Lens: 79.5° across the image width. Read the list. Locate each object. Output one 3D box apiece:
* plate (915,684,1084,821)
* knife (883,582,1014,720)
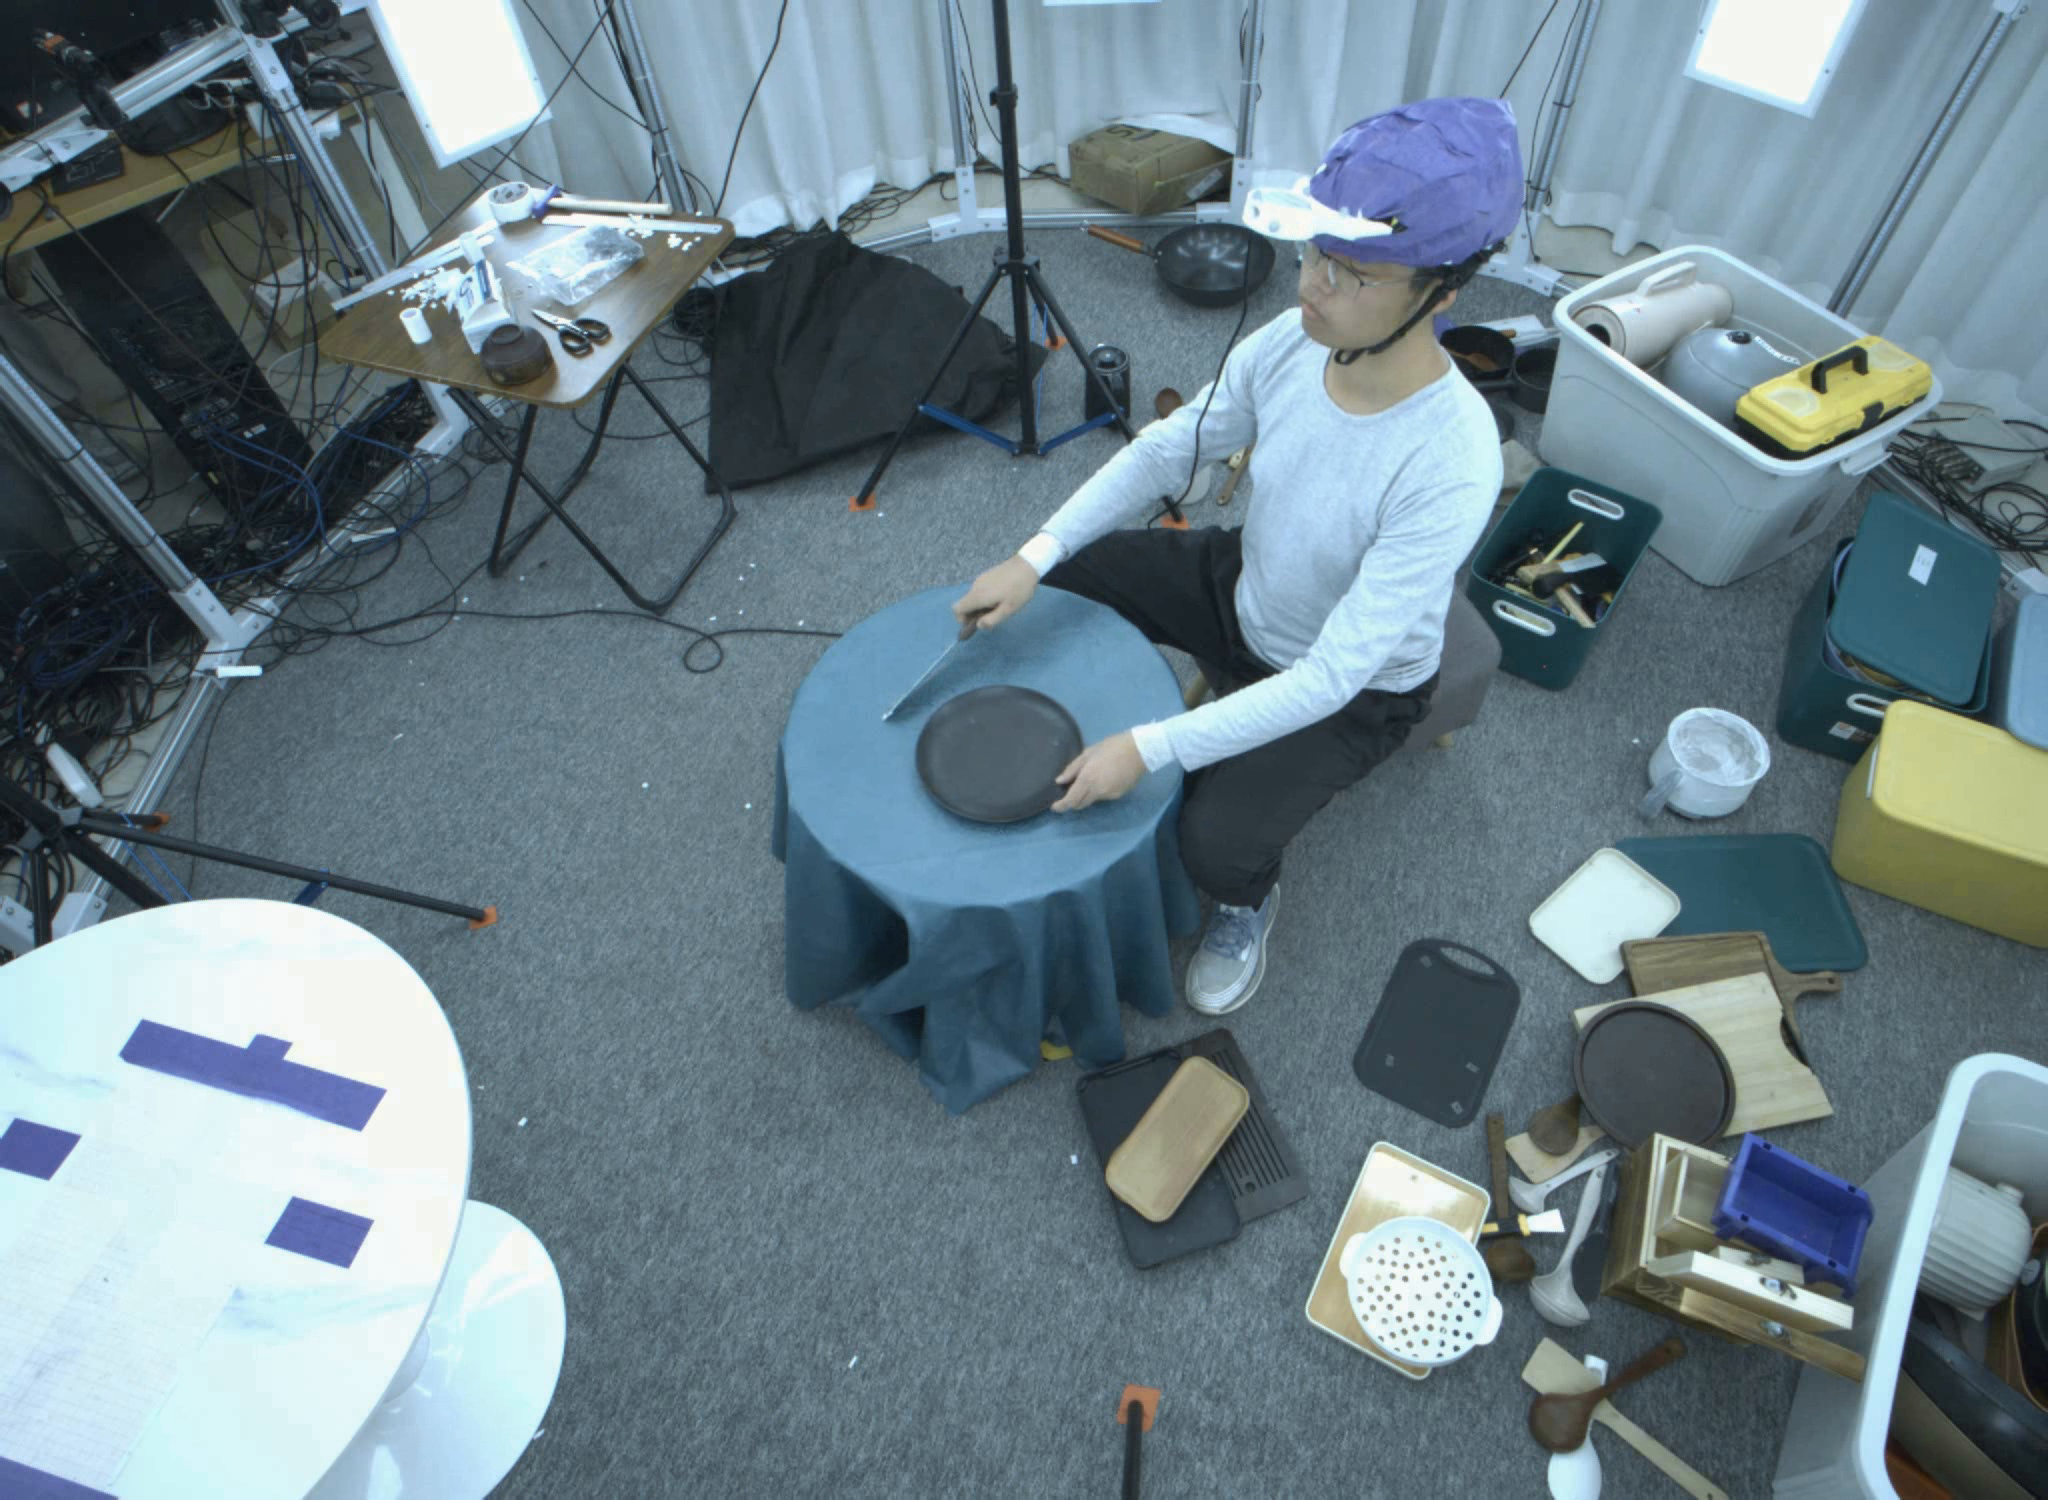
[{"bbox_3d":[-0.036,0.005,1.778,0.244,0.023,0.242,0,54,1],"label":"plate"},{"bbox_3d":[-0.115,-0.150,1.858,0.020,0.050,0.290,44,77,-9],"label":"knife"}]
